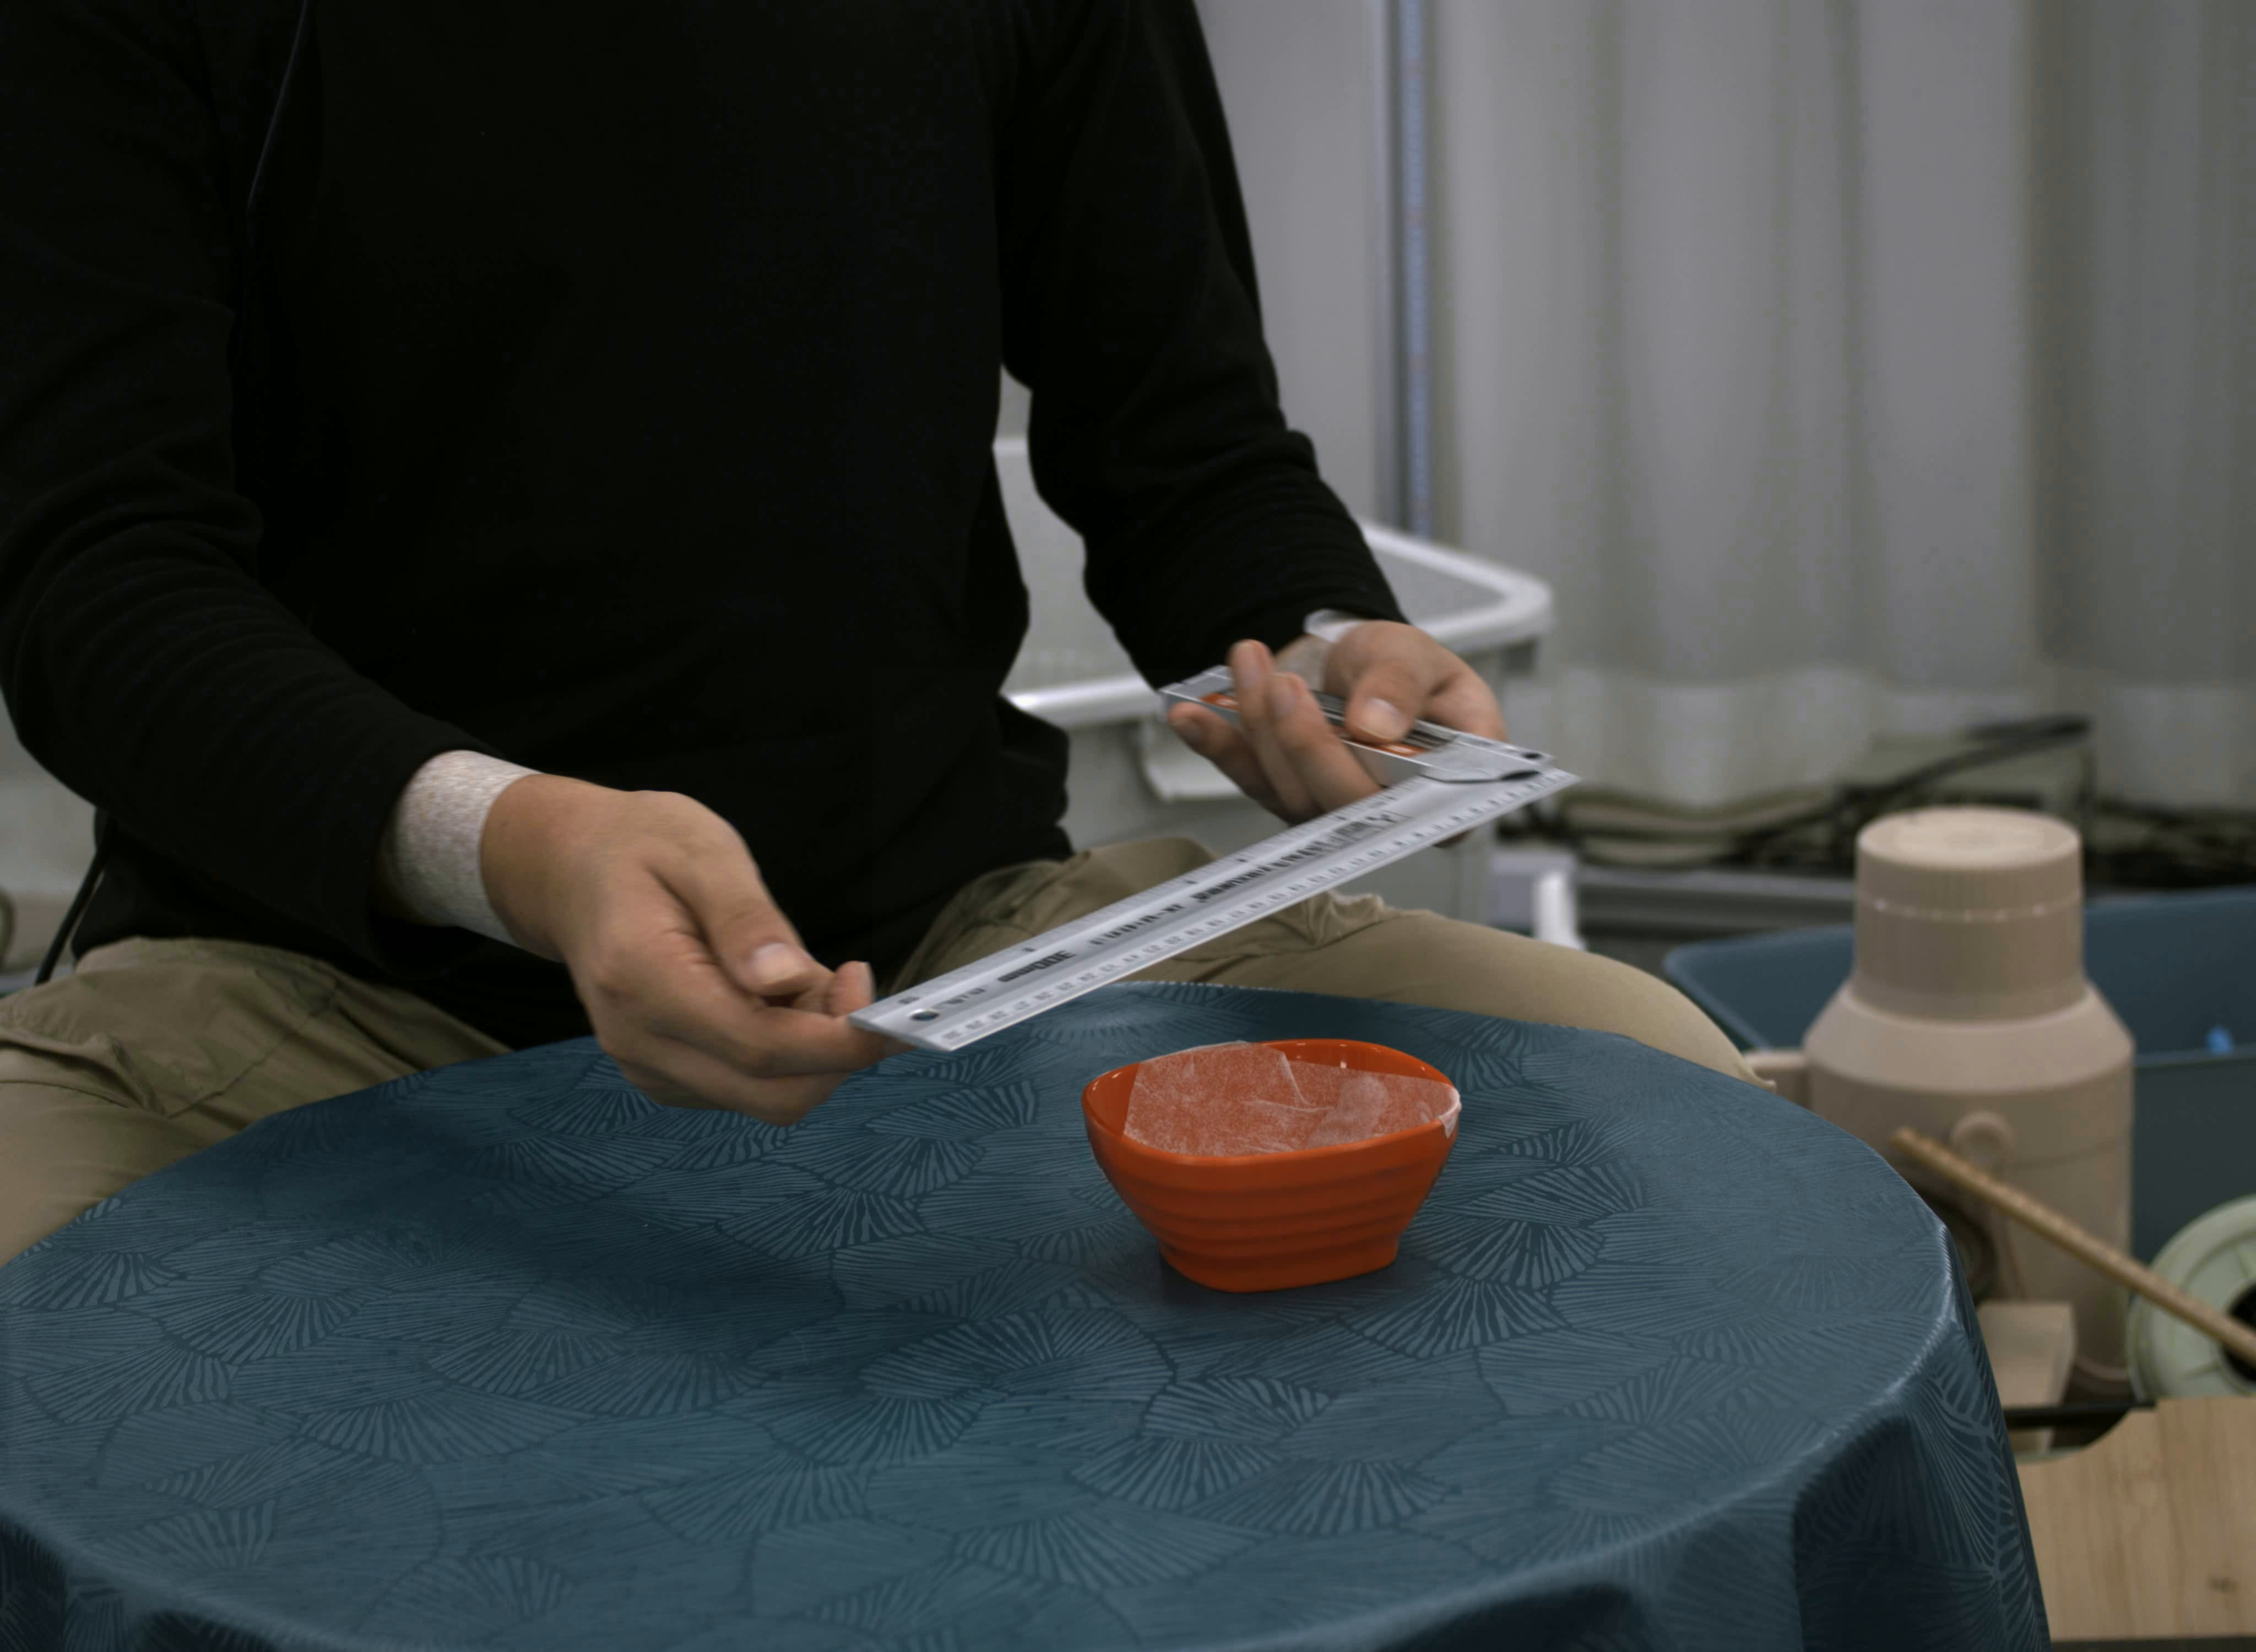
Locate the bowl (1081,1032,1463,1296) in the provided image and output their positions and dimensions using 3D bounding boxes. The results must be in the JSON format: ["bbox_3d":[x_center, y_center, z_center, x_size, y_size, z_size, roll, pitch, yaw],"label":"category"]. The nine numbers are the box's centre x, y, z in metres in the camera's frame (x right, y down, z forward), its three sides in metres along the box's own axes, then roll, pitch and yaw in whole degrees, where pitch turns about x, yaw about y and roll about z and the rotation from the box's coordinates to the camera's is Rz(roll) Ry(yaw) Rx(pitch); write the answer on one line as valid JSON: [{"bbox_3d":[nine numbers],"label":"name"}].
[{"bbox_3d":[0.044,0.104,1.644,0.118,0.051,0.120,-4,16,1],"label":"bowl"}]

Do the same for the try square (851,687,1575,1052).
[{"bbox_3d":[-0.008,0.010,1.718,0.153,0.016,0.313,12,23,38],"label":"try square"}]
